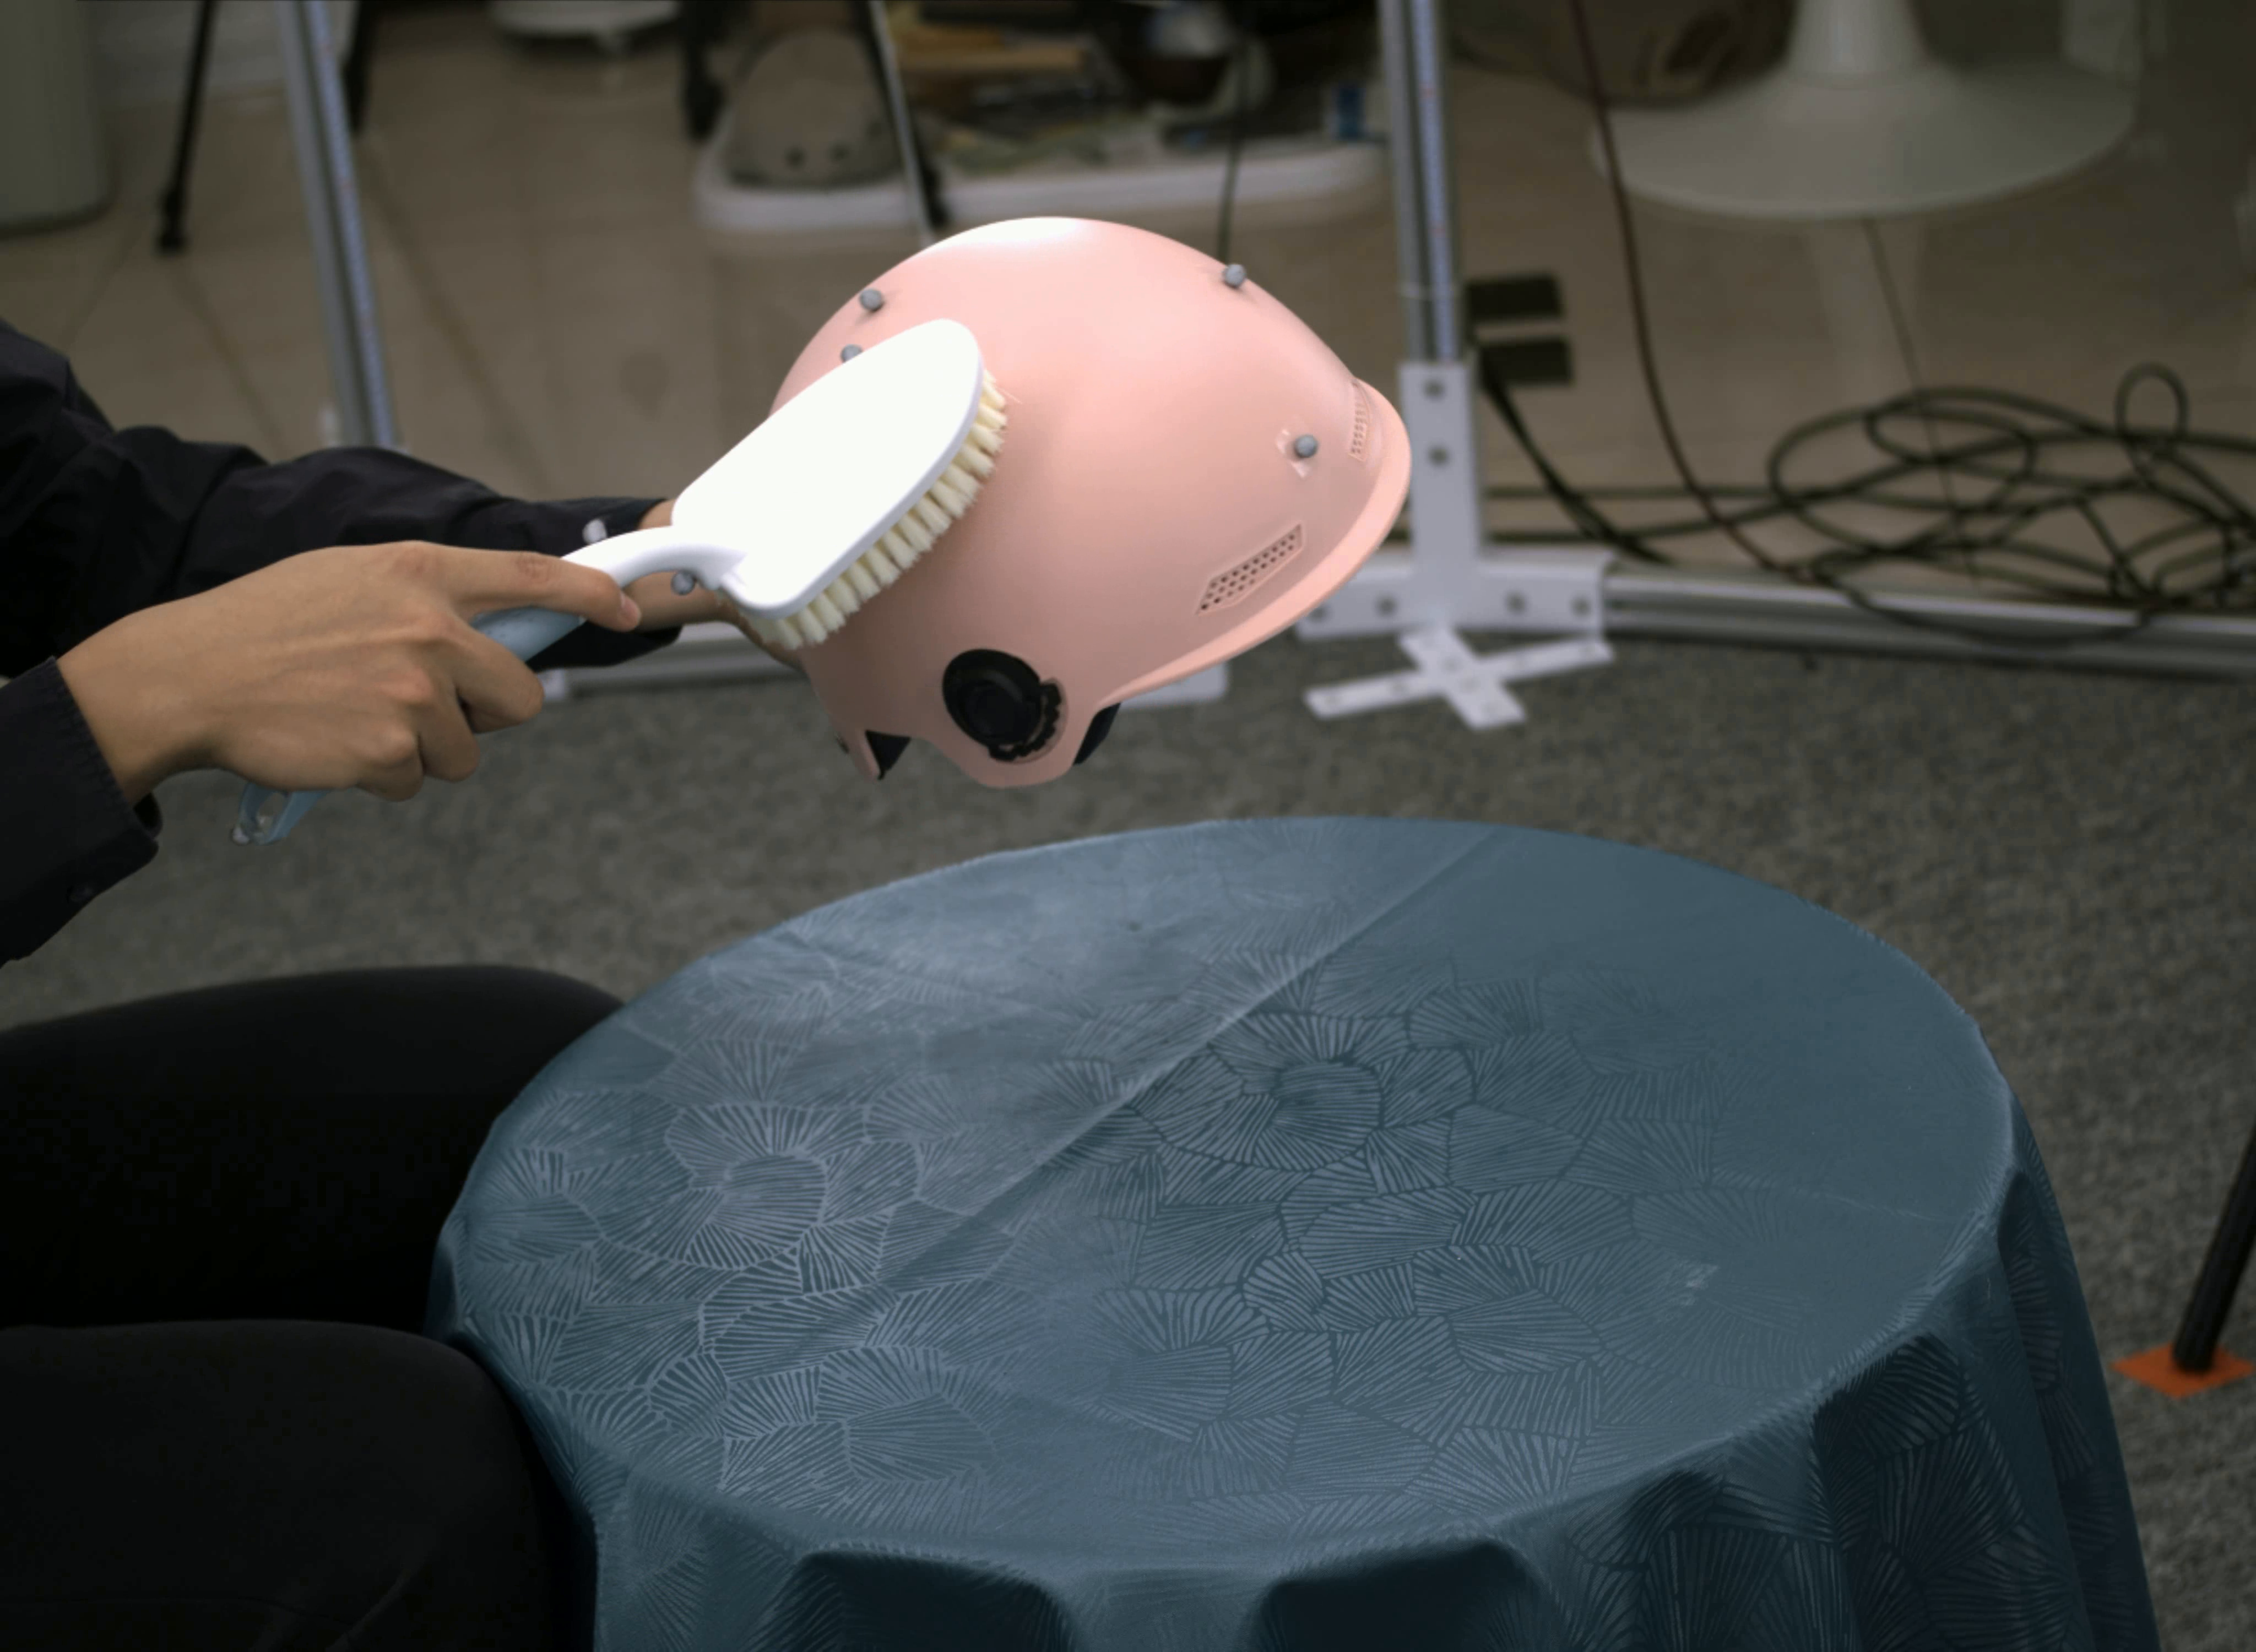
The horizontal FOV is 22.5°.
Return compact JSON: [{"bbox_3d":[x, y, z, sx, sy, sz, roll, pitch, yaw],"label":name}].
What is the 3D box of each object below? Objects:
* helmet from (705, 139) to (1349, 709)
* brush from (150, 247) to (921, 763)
[{"bbox_3d":[-0.059,-0.173,2.158,0.266,0.161,0.231,-4,41,42],"label":"helmet"},{"bbox_3d":[-0.209,-0.101,2.025,0.323,0.085,0.082,-35,21,-17],"label":"brush"}]
